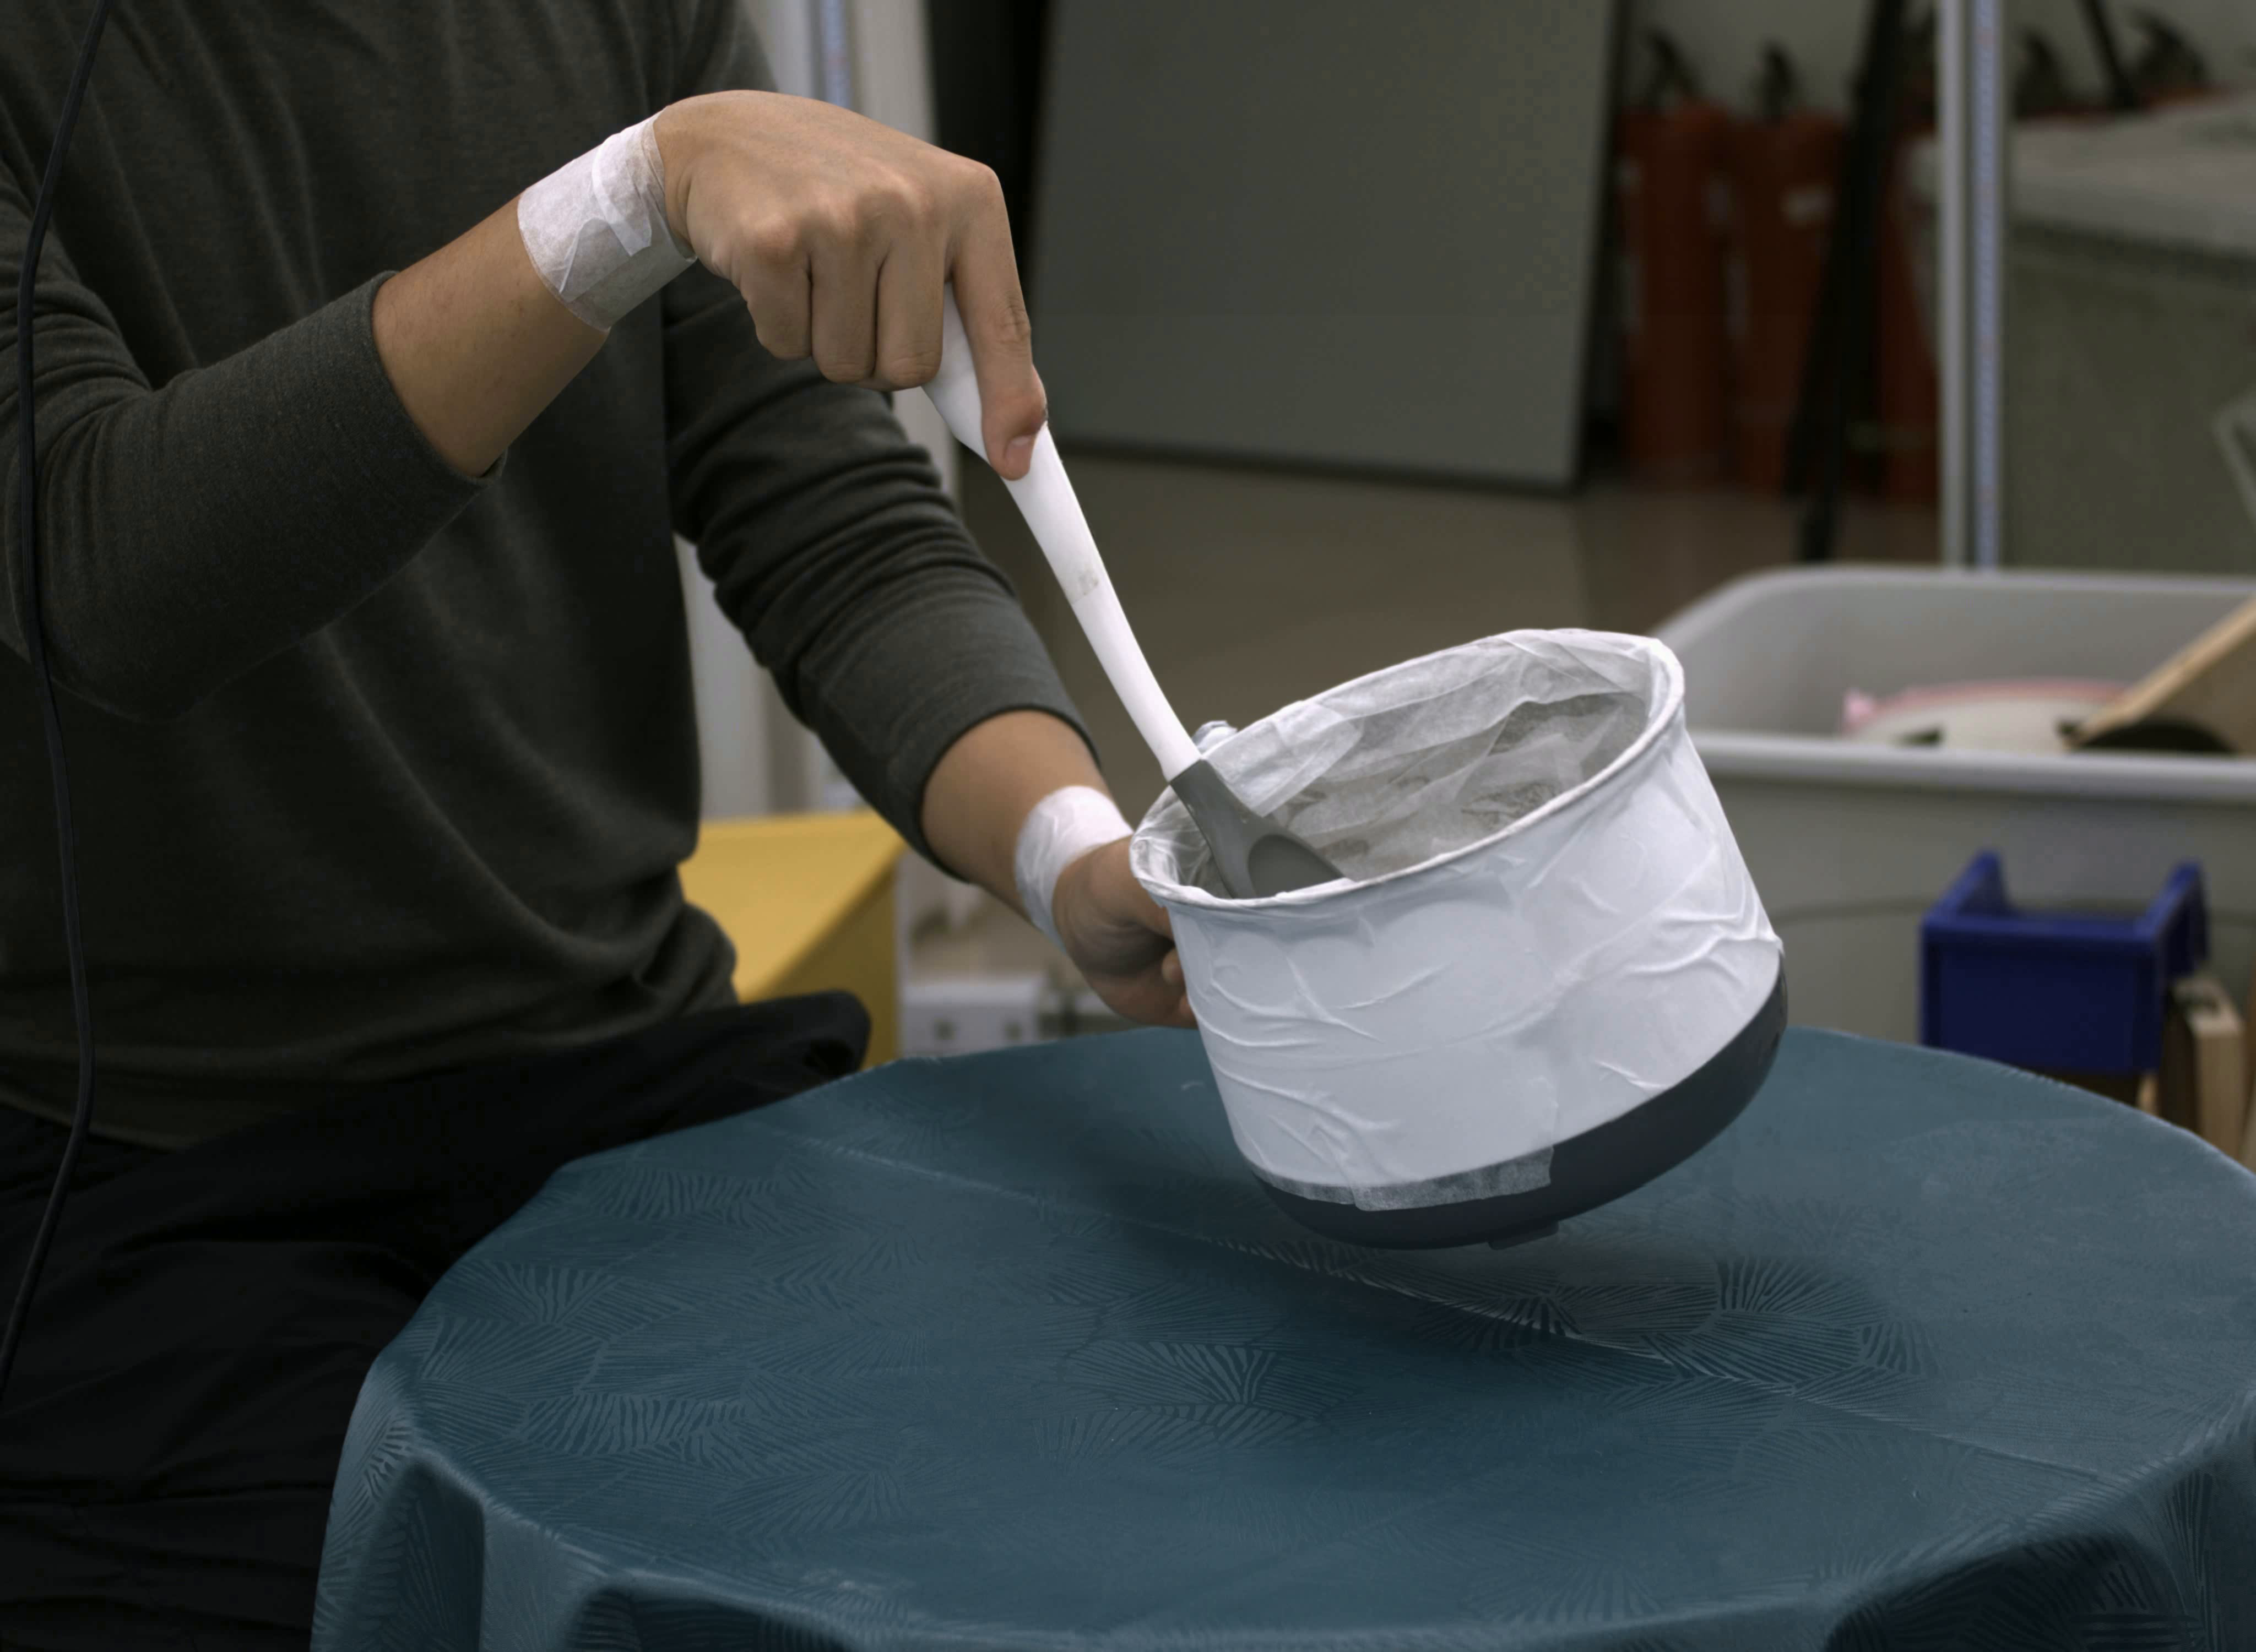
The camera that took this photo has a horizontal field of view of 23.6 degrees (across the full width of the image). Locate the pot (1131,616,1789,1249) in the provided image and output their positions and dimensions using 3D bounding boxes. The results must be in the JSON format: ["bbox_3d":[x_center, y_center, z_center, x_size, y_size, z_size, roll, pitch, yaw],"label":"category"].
[{"bbox_3d":[0.088,0.032,1.646,0.176,0.137,0.236,-31,21,-29],"label":"pot"}]

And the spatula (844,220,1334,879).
[{"bbox_3d":[0.005,-0.054,1.633,0.032,0.289,0.058,-33,-1,34],"label":"spatula"}]
